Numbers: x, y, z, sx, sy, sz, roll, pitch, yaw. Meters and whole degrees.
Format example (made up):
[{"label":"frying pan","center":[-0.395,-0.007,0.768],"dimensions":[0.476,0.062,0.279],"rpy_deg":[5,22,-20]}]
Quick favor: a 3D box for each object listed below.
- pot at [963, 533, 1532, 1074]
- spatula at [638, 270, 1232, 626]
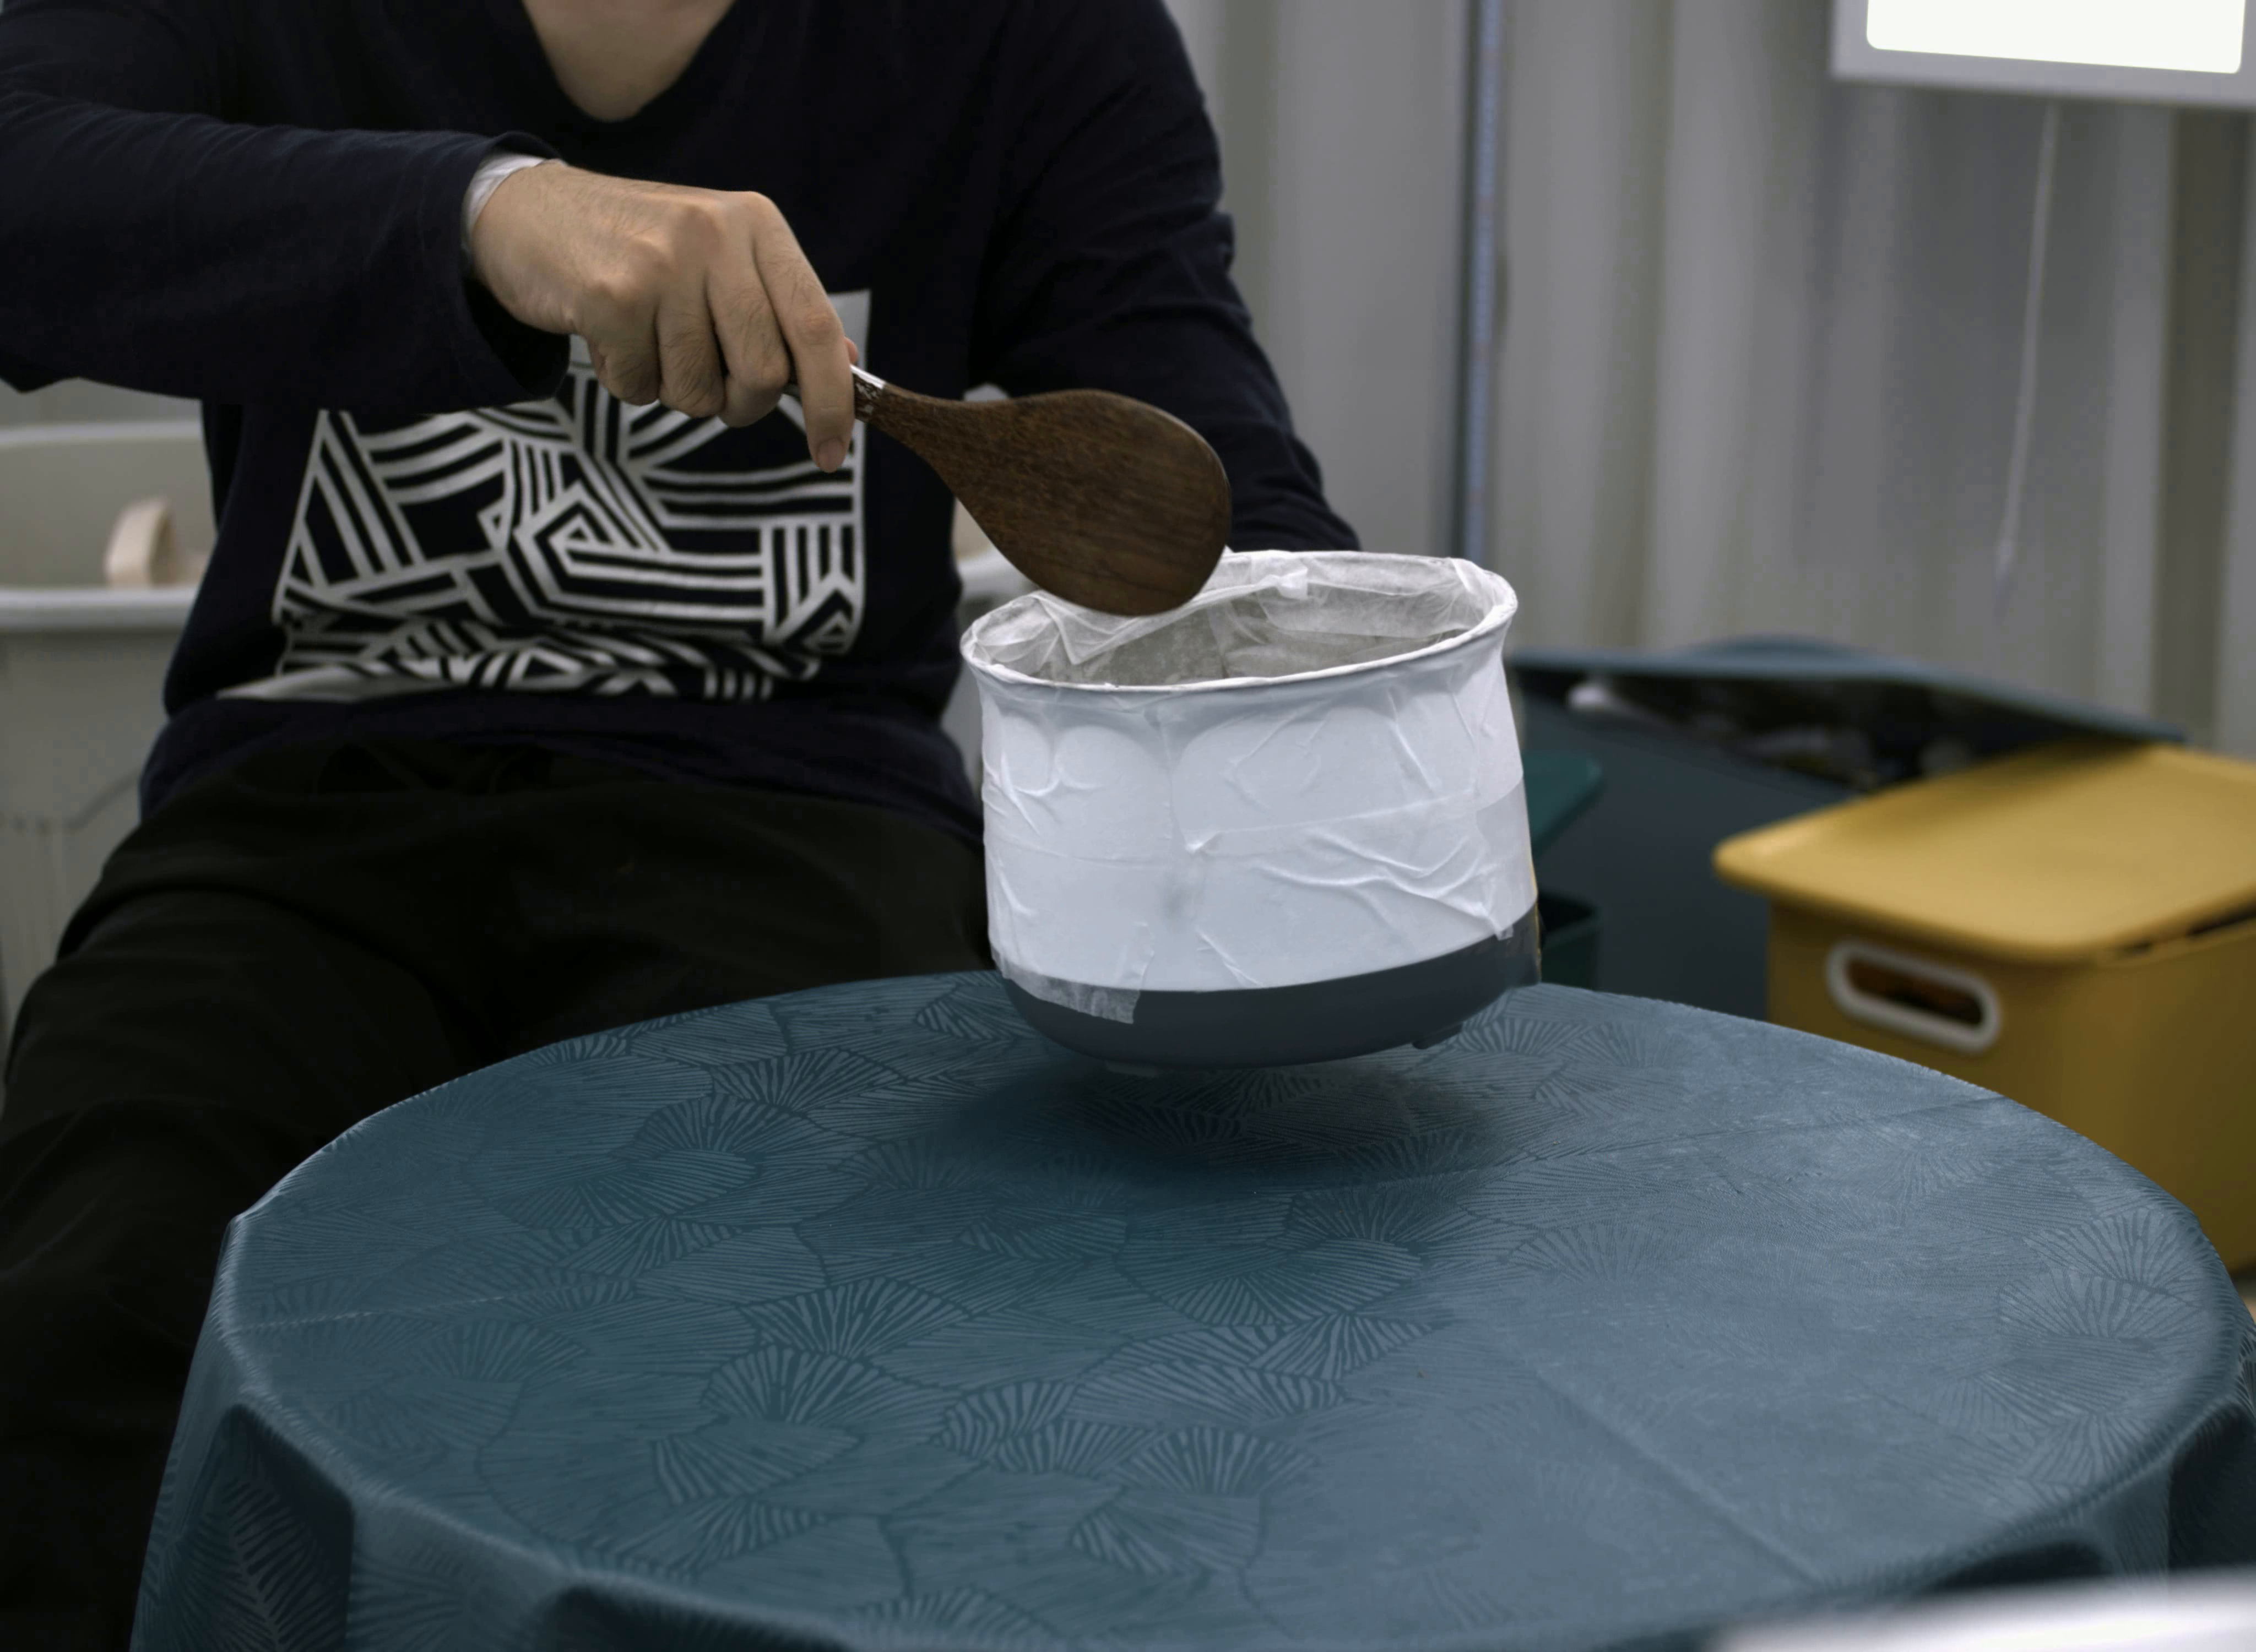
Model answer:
[{"label":"pot","center":[0.036,-0.013,1.702],"dimensions":[0.178,0.138,0.232],"rpy_deg":[-4,16,-6]},{"label":"spatula","center":[-0.064,-0.131,1.690],"dimensions":[0.214,0.072,0.009],"rpy_deg":[26,25,12]}]
